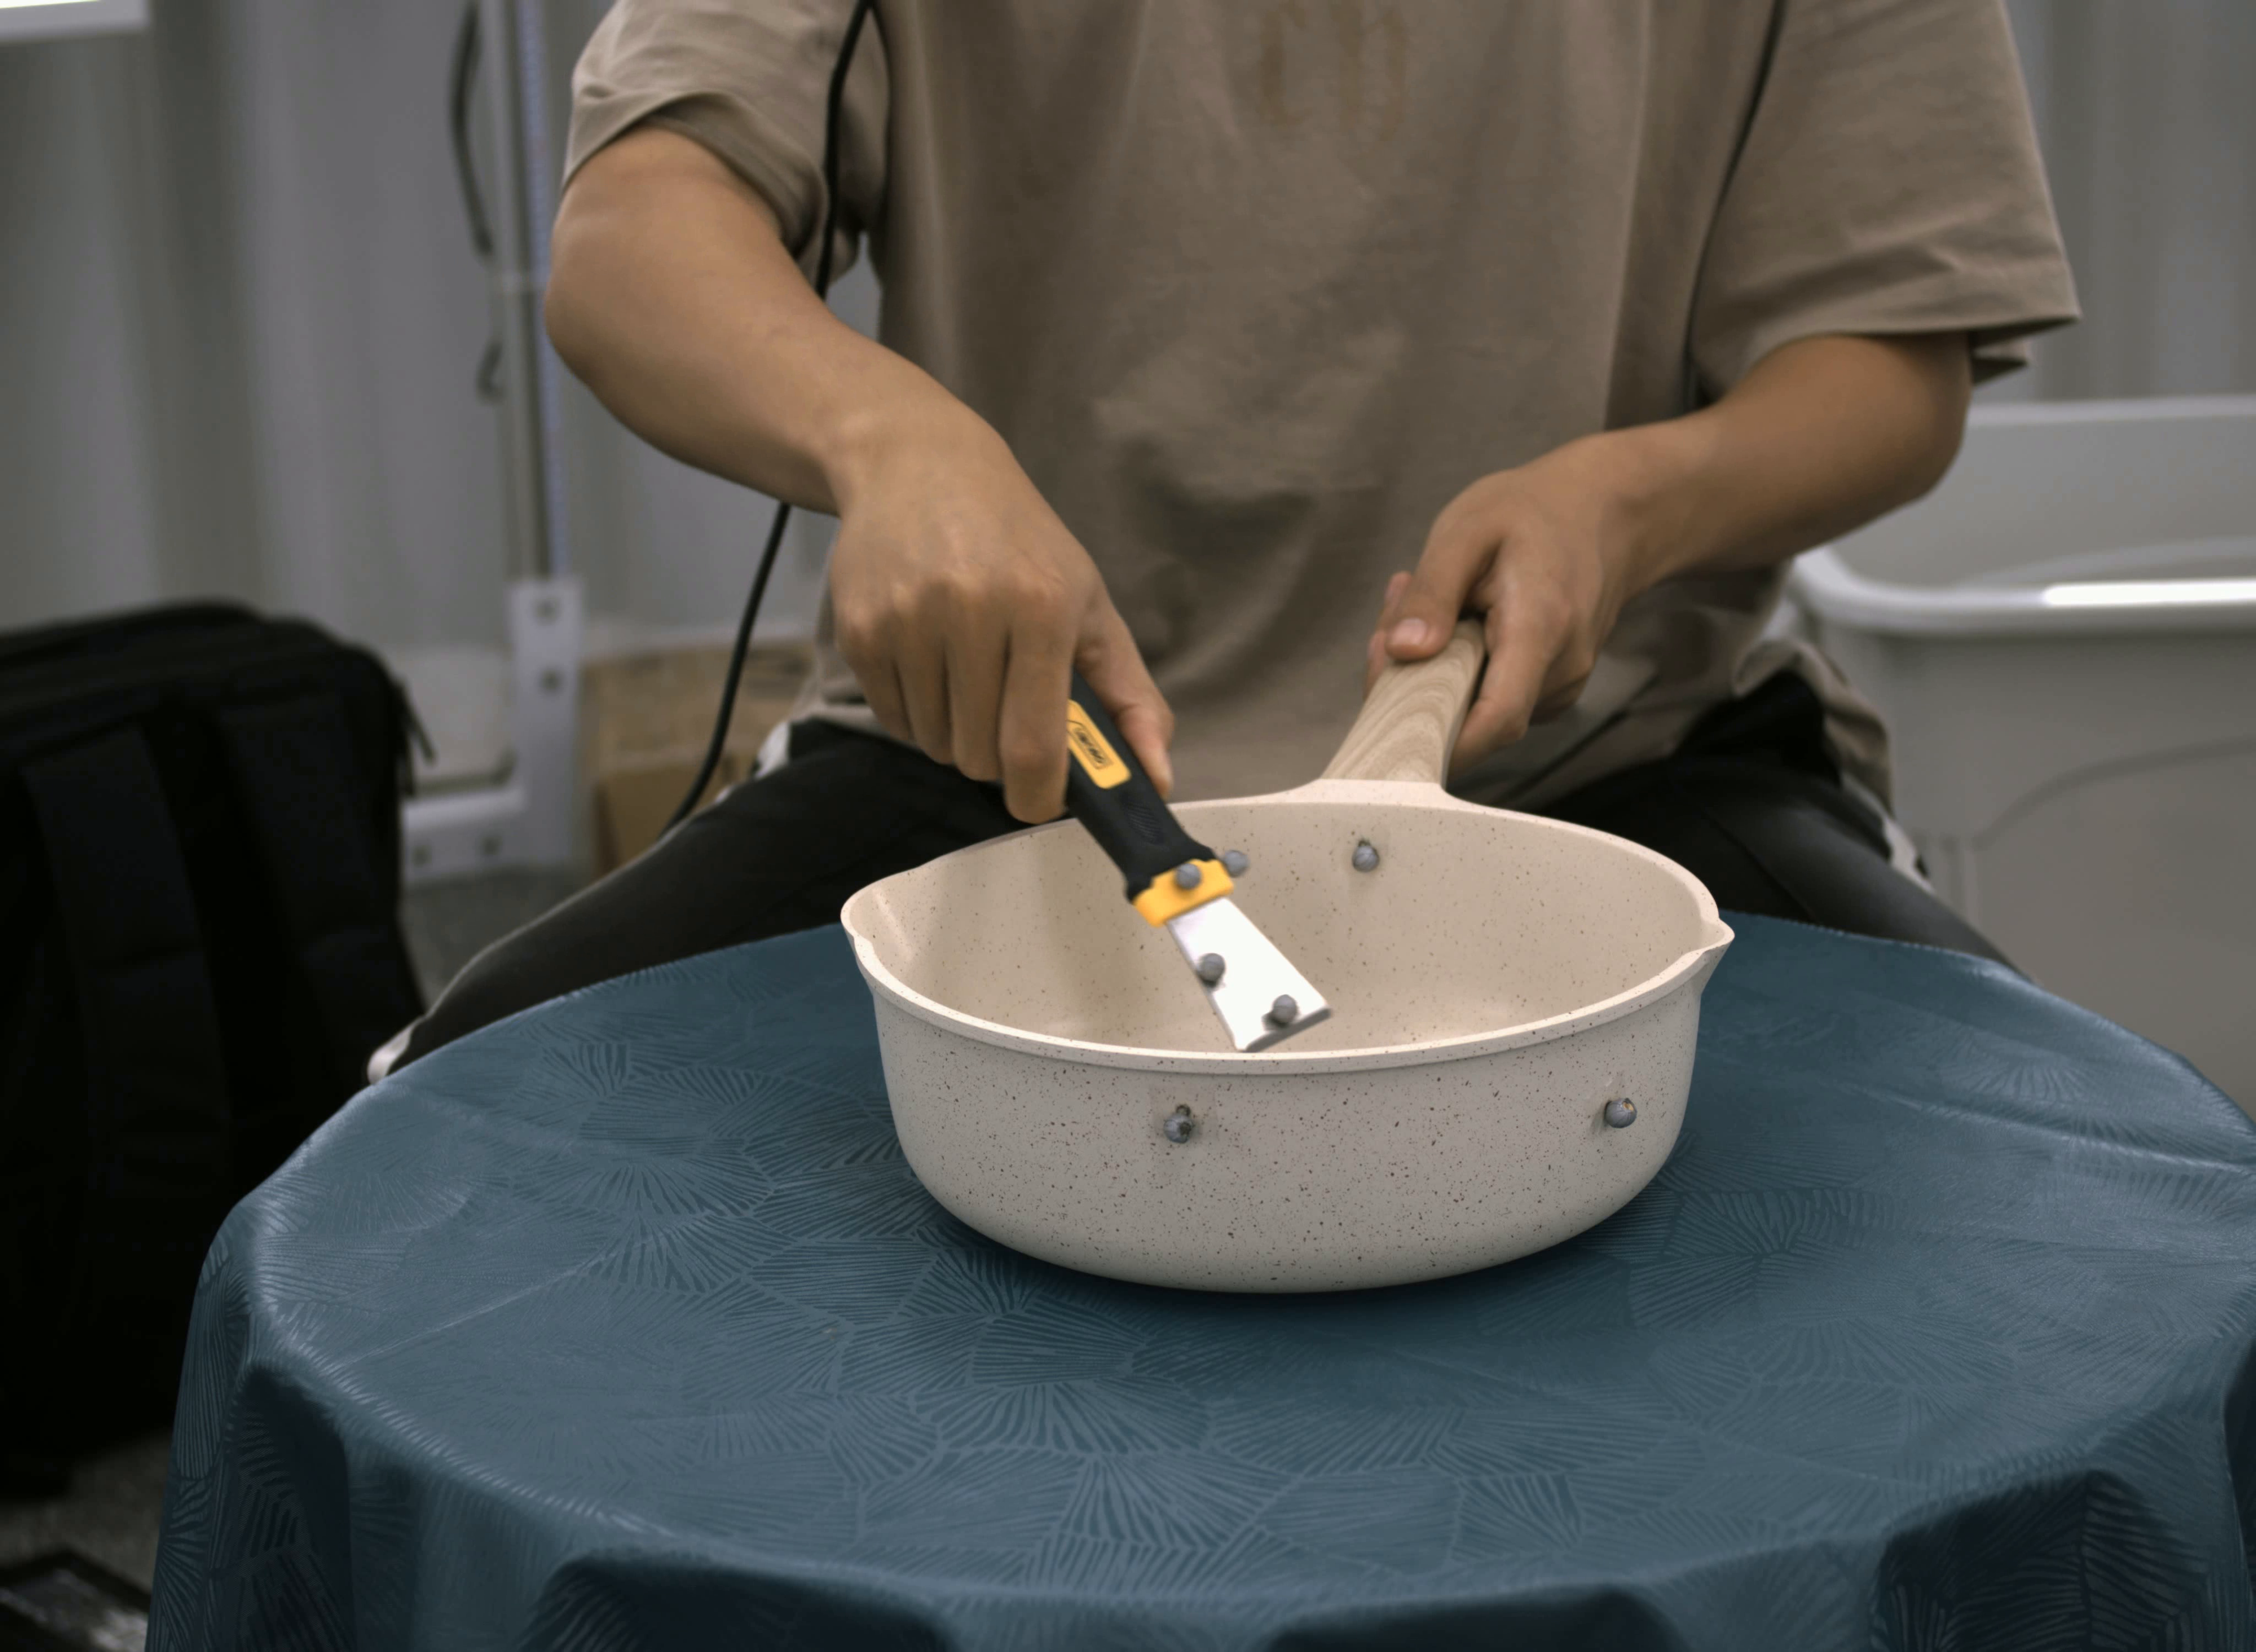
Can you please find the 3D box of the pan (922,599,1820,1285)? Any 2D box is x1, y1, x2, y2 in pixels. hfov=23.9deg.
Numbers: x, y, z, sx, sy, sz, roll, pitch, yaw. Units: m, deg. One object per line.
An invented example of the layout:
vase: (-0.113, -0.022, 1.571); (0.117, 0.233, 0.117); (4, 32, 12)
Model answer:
pan: (0.091, 0.031, 1.629); (0.265, 0.102, 0.432); (-1, 16, 14)

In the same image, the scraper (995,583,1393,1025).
scraper: (0.016, -0.005, 1.589); (0.038, 0.015, 0.173); (-28, 68, -24)
